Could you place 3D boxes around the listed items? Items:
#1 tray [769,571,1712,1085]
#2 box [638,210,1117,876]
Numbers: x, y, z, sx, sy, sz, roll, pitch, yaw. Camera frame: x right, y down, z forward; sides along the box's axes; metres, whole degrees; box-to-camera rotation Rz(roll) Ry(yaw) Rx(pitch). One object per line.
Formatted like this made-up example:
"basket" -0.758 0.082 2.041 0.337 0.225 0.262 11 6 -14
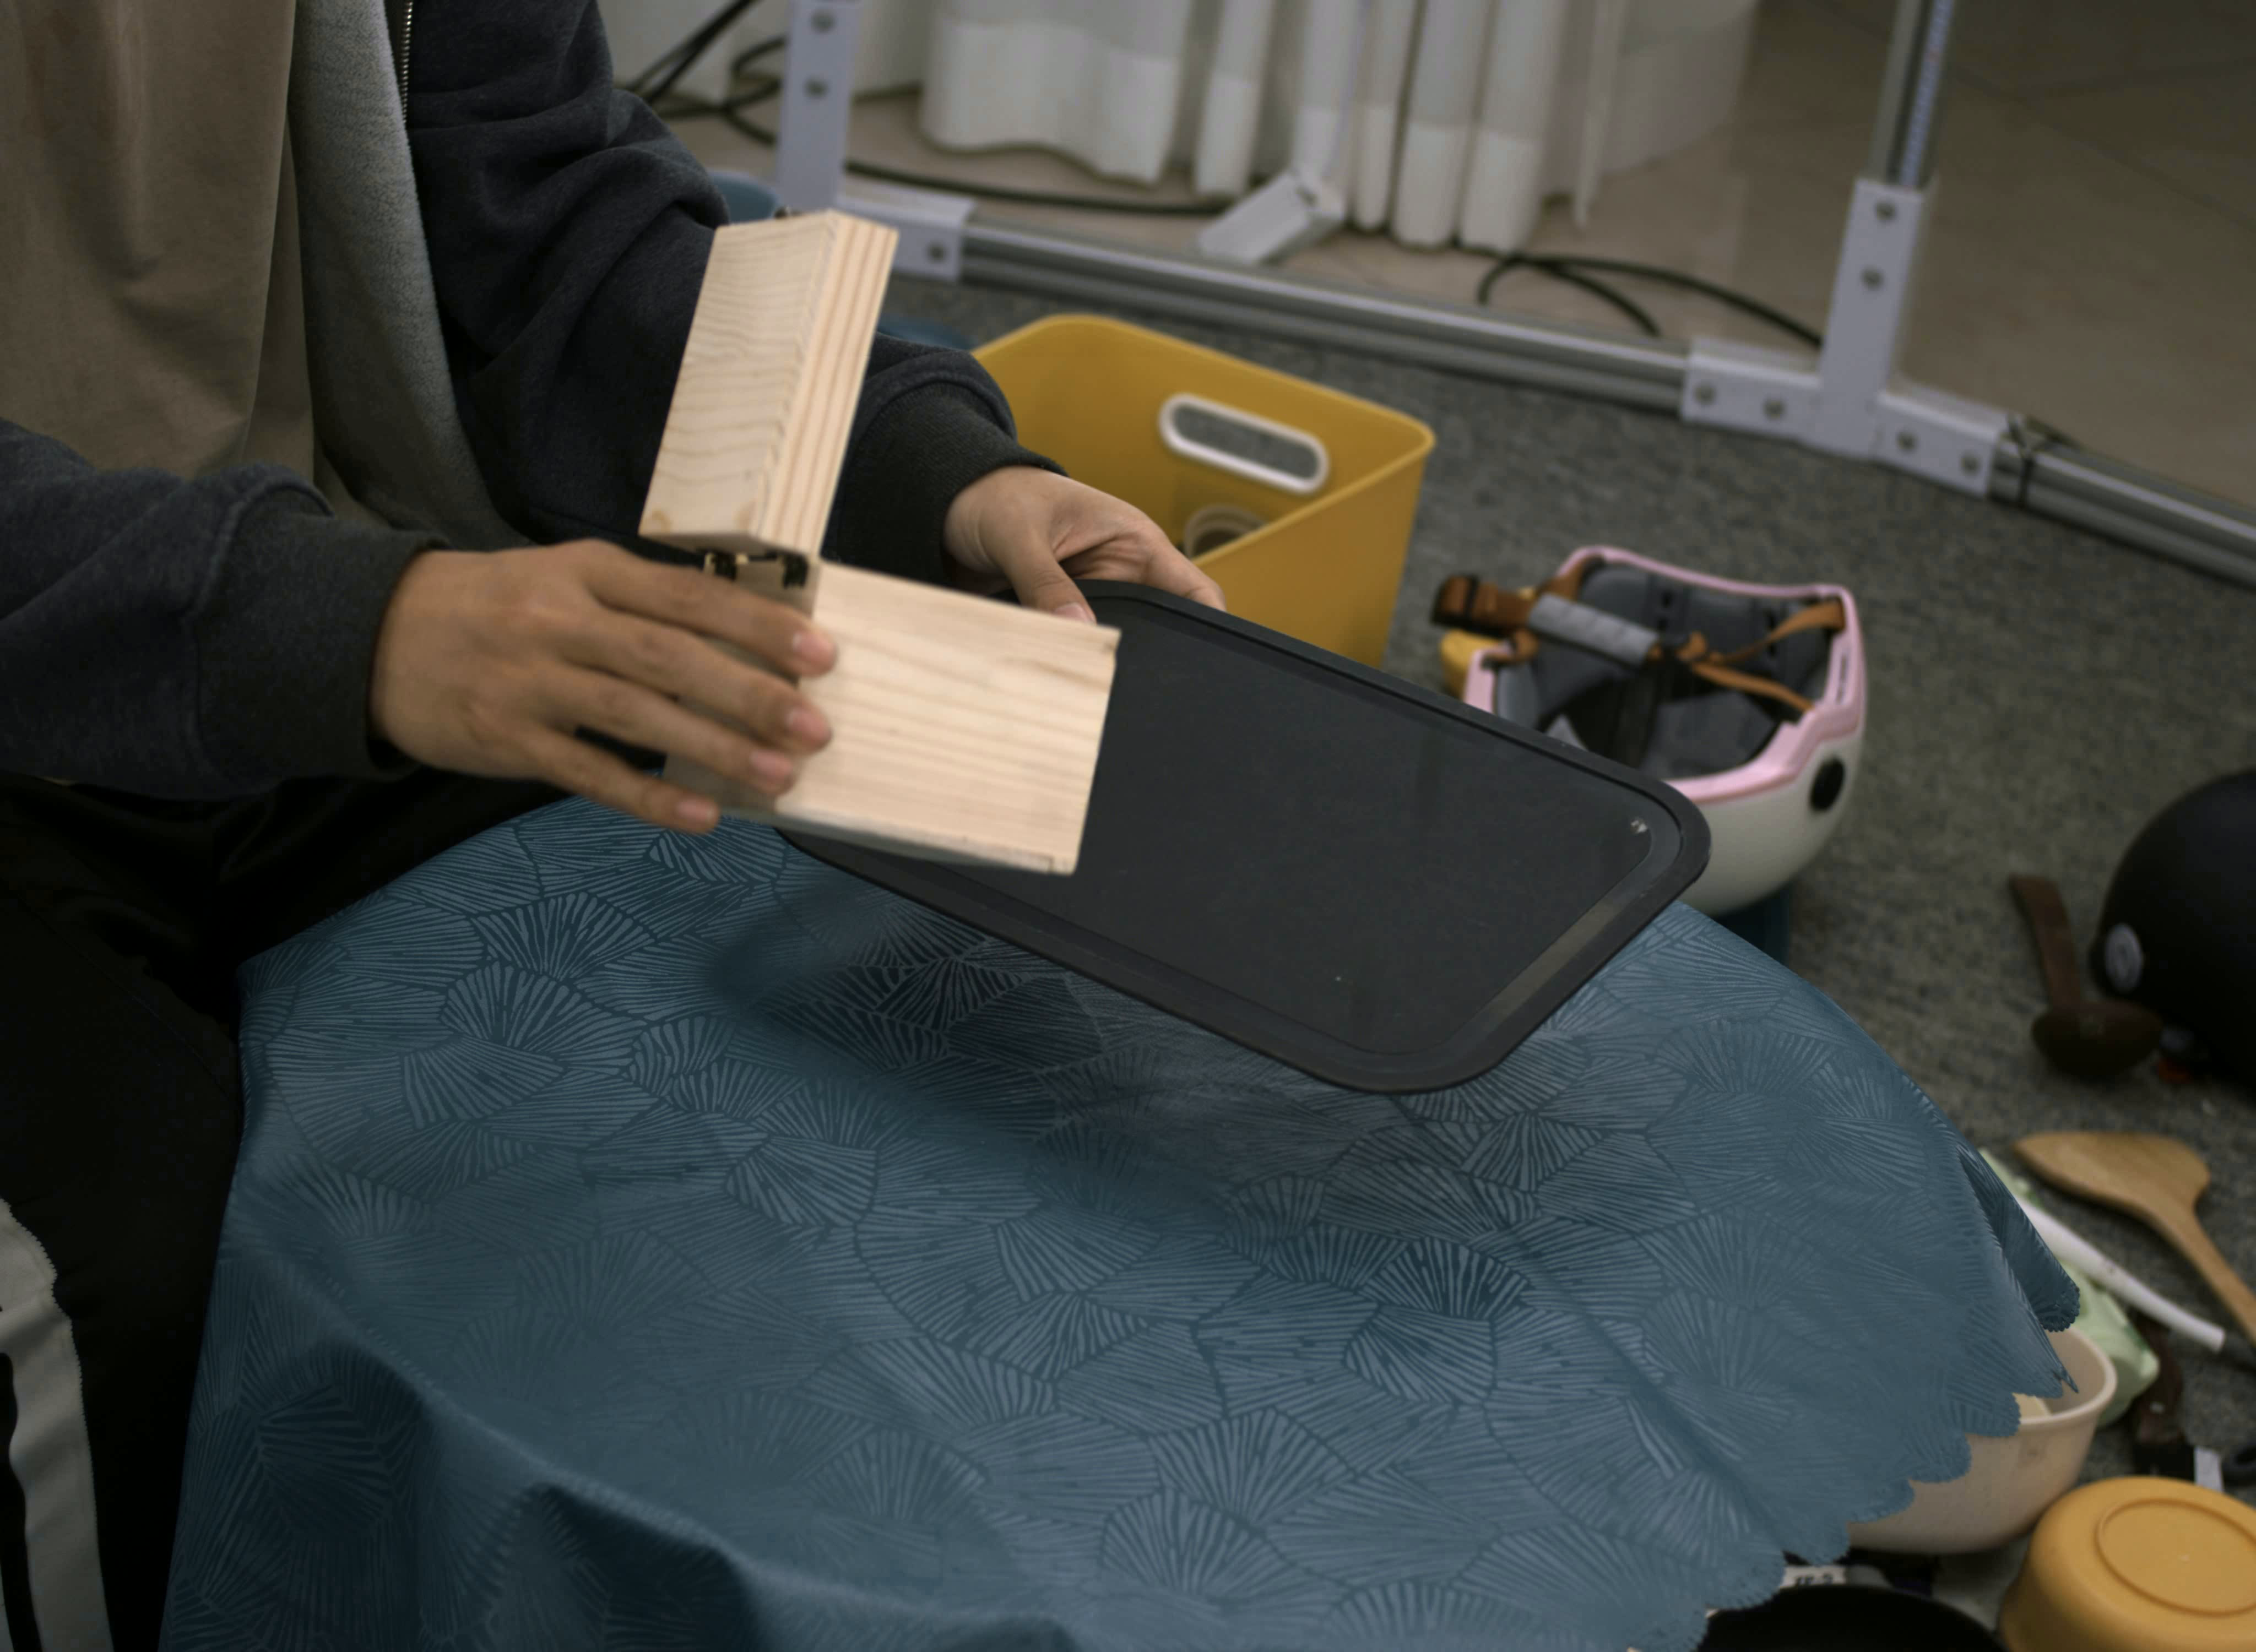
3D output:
"tray" 0.029 -0.008 1.878 0.327 0.010 0.211 23 42 30
"box" -0.073 -0.088 1.642 0.133 0.185 0.103 11 -1 -24
